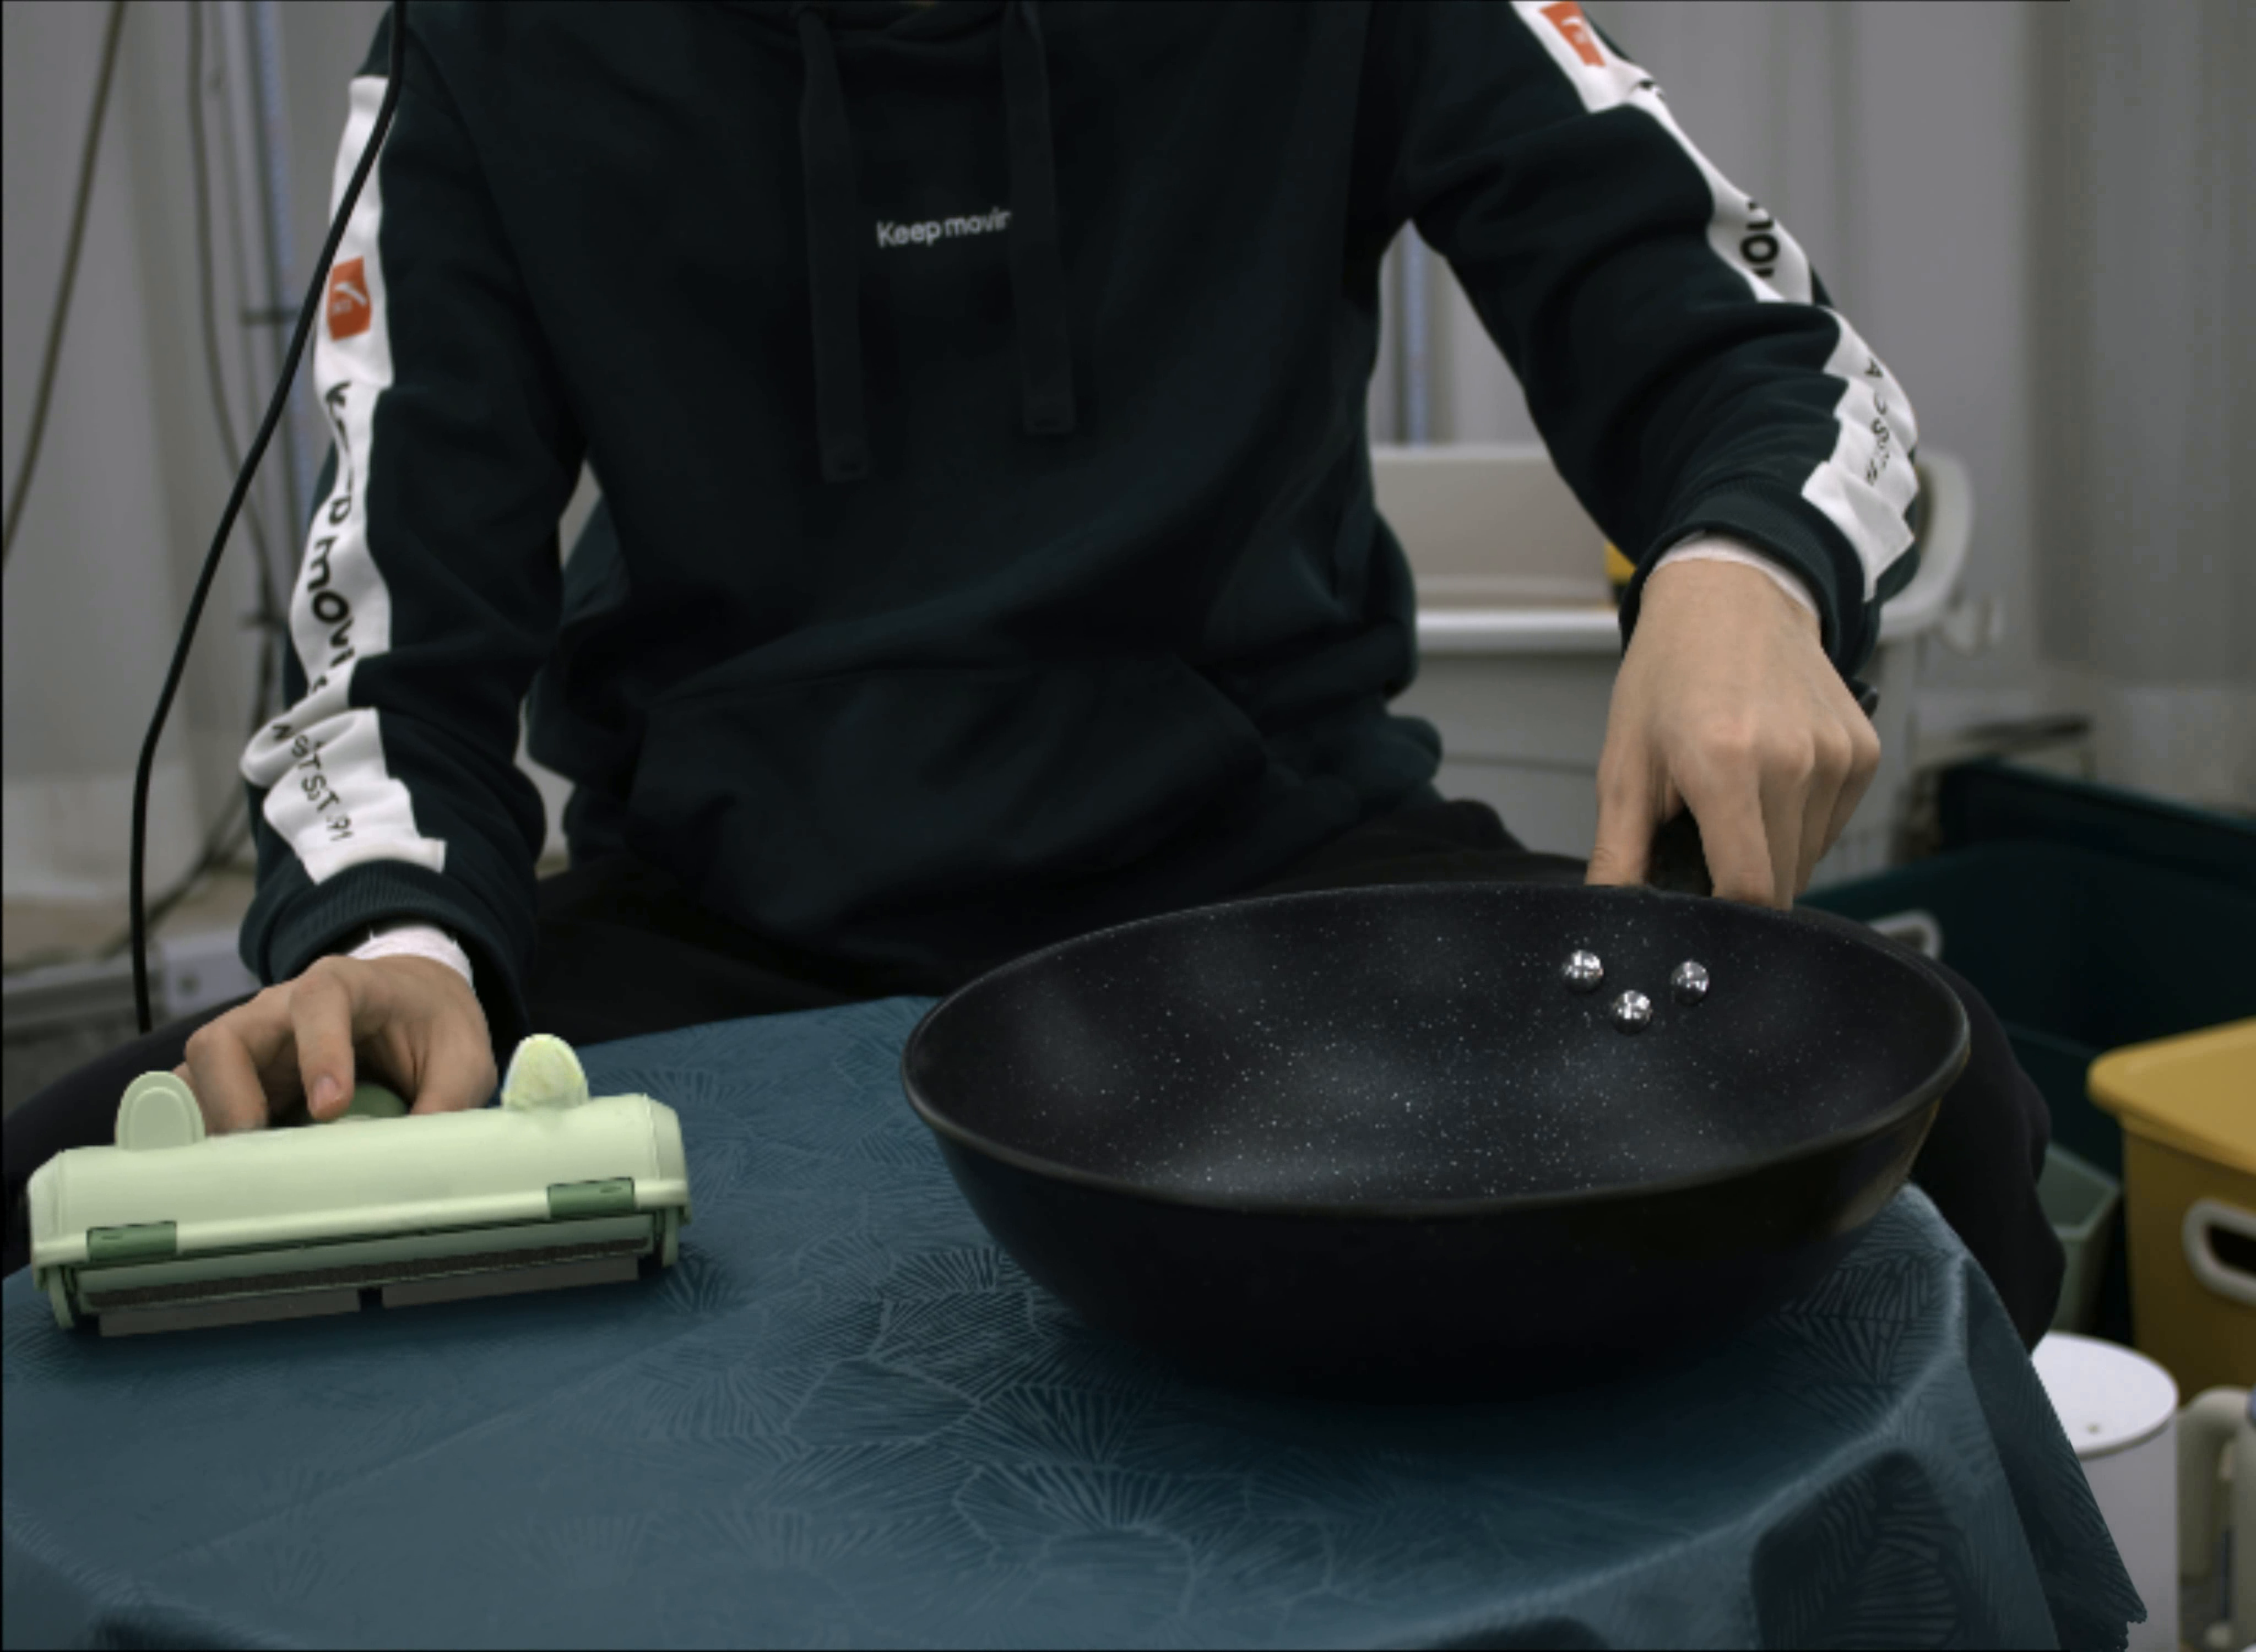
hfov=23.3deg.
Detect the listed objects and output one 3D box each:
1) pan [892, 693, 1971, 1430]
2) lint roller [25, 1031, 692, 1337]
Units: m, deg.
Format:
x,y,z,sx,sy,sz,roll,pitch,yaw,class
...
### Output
x,y,z,sx,sy,sz,roll,pitch,yaw,class
0.127,0.070,1.651,0.311,0.111,0.477,7,18,28,pan
-0.241,0.092,1.701,0.198,0.081,0.185,-6,20,-8,lint roller
